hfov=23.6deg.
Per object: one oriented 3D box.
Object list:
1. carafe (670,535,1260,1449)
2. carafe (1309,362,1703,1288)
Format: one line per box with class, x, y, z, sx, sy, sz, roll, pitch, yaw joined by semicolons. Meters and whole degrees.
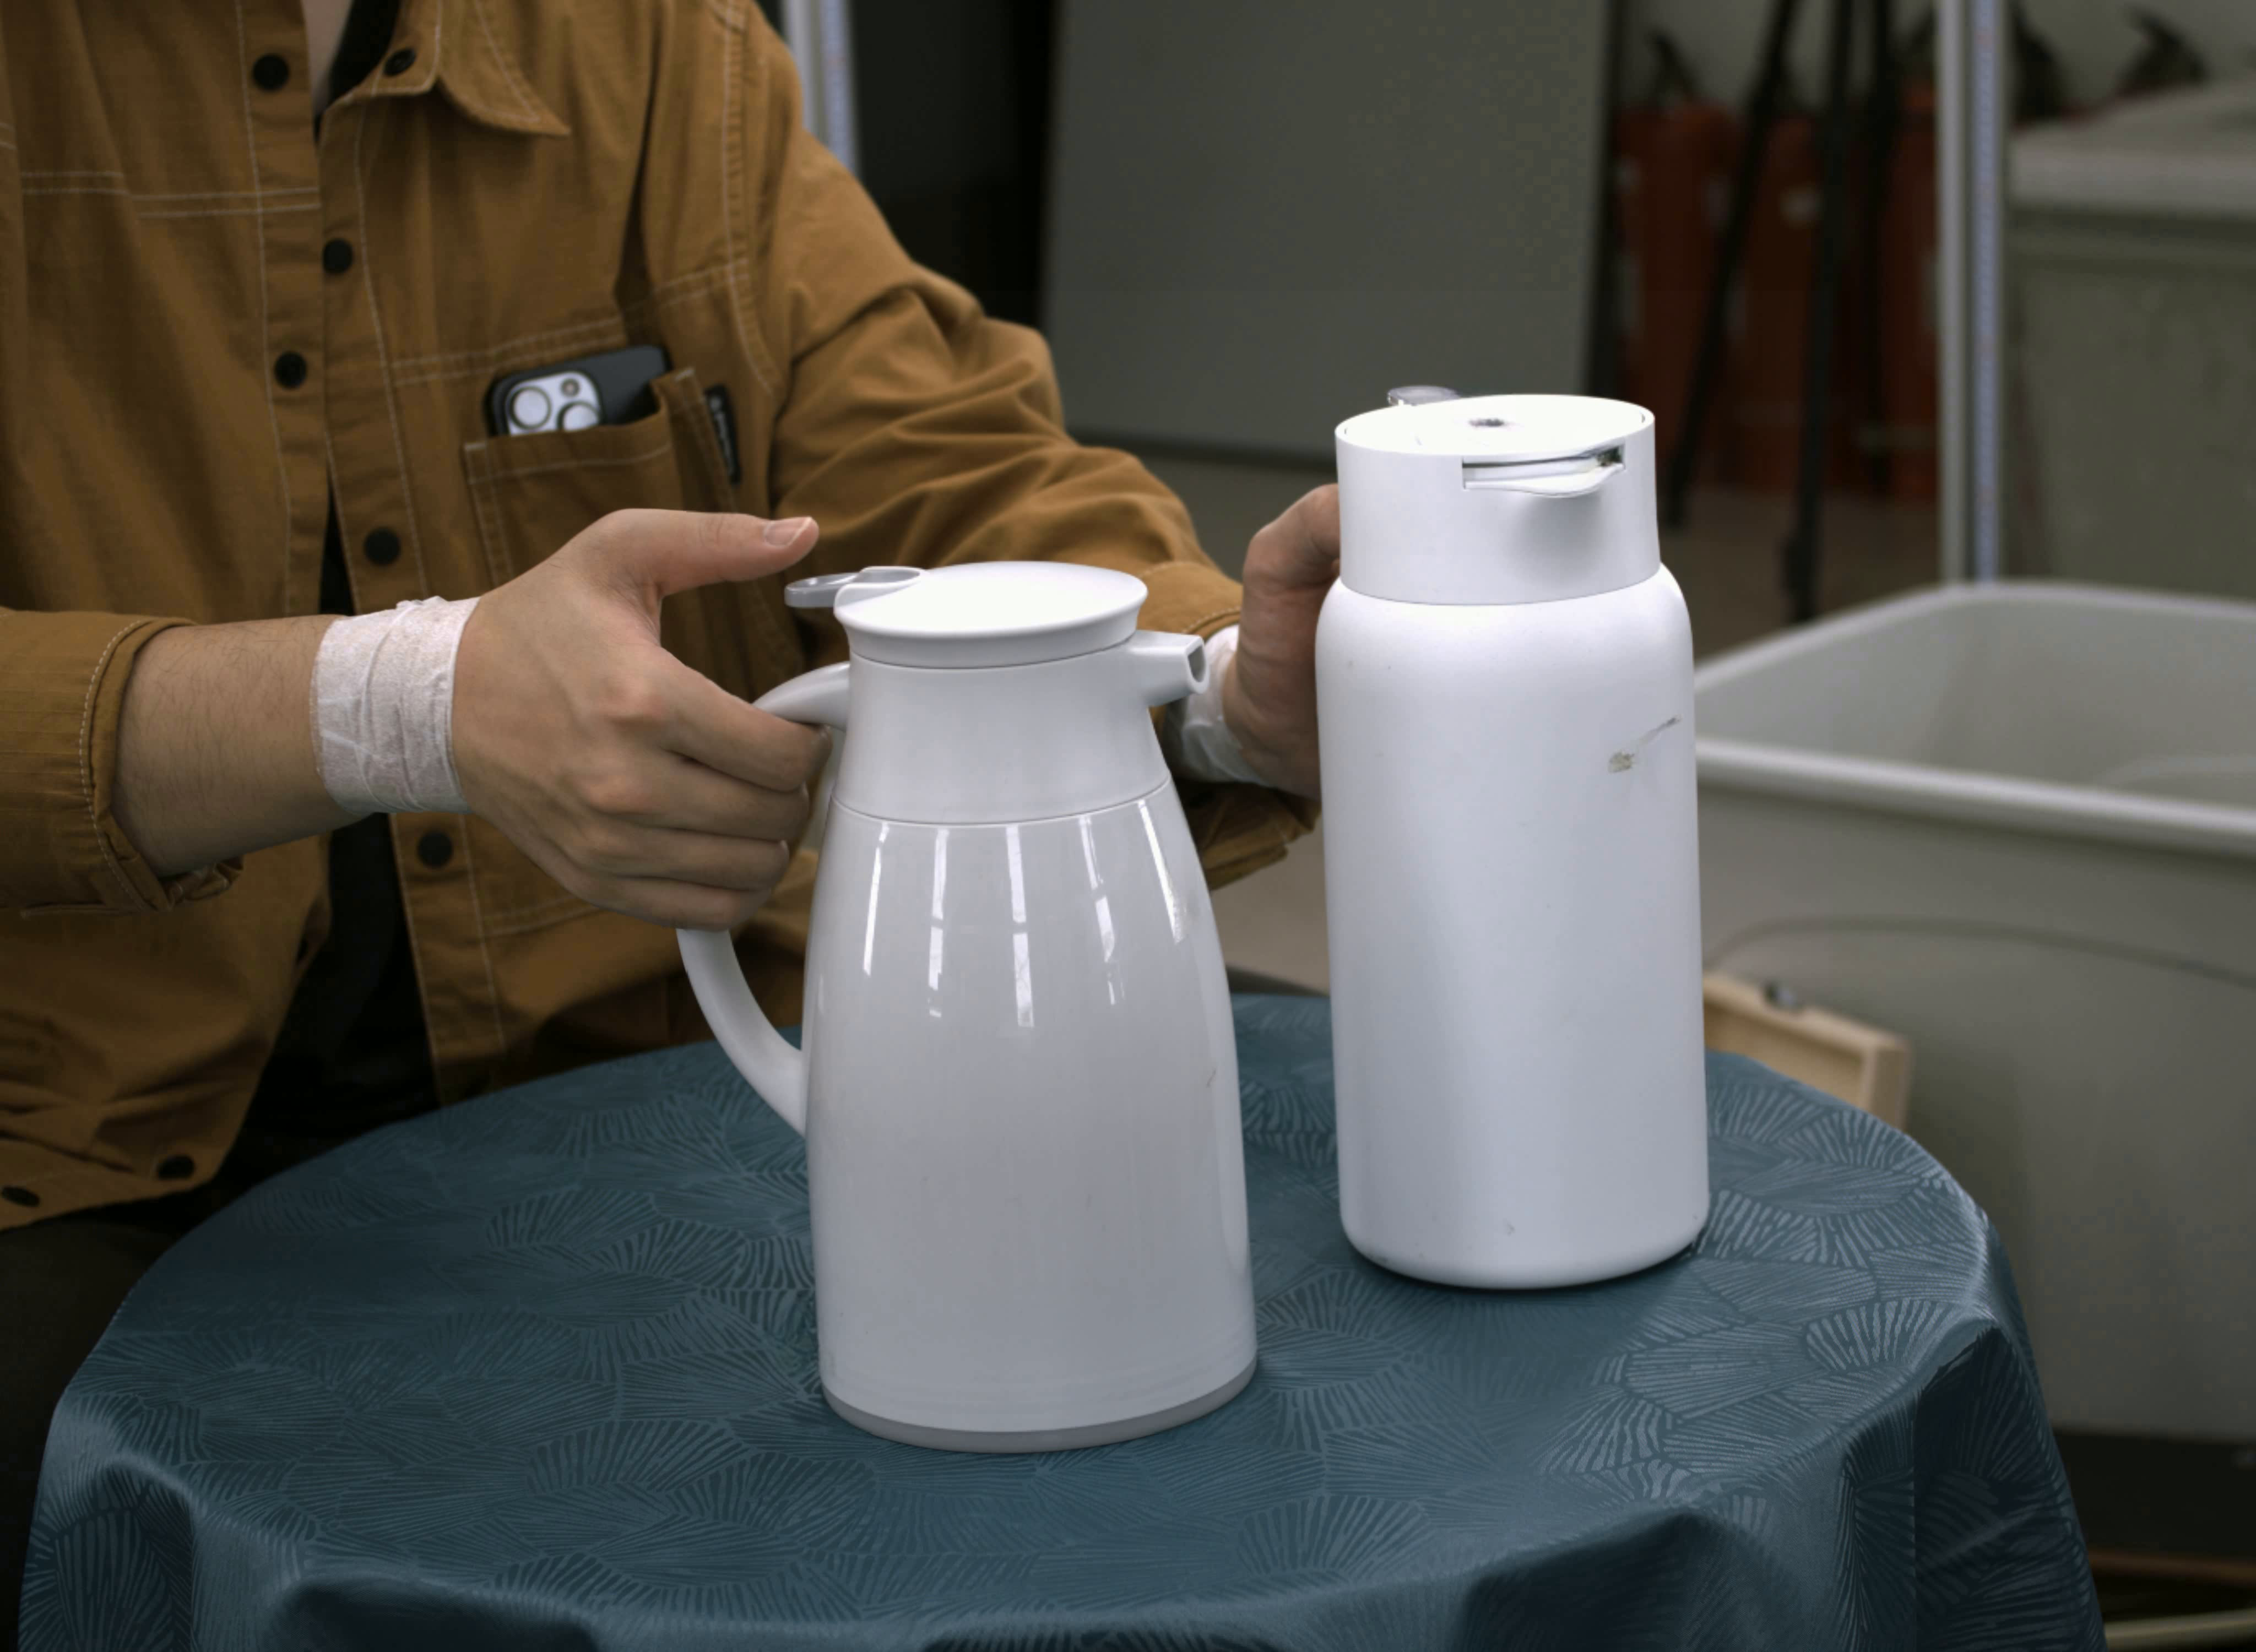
carafe;-0.052;0.042;1.584;0.167;0.251;0.131;-1;13;19
carafe;0.110;-0.004;1.683;0.121;0.272;0.174;-10;14;-16
